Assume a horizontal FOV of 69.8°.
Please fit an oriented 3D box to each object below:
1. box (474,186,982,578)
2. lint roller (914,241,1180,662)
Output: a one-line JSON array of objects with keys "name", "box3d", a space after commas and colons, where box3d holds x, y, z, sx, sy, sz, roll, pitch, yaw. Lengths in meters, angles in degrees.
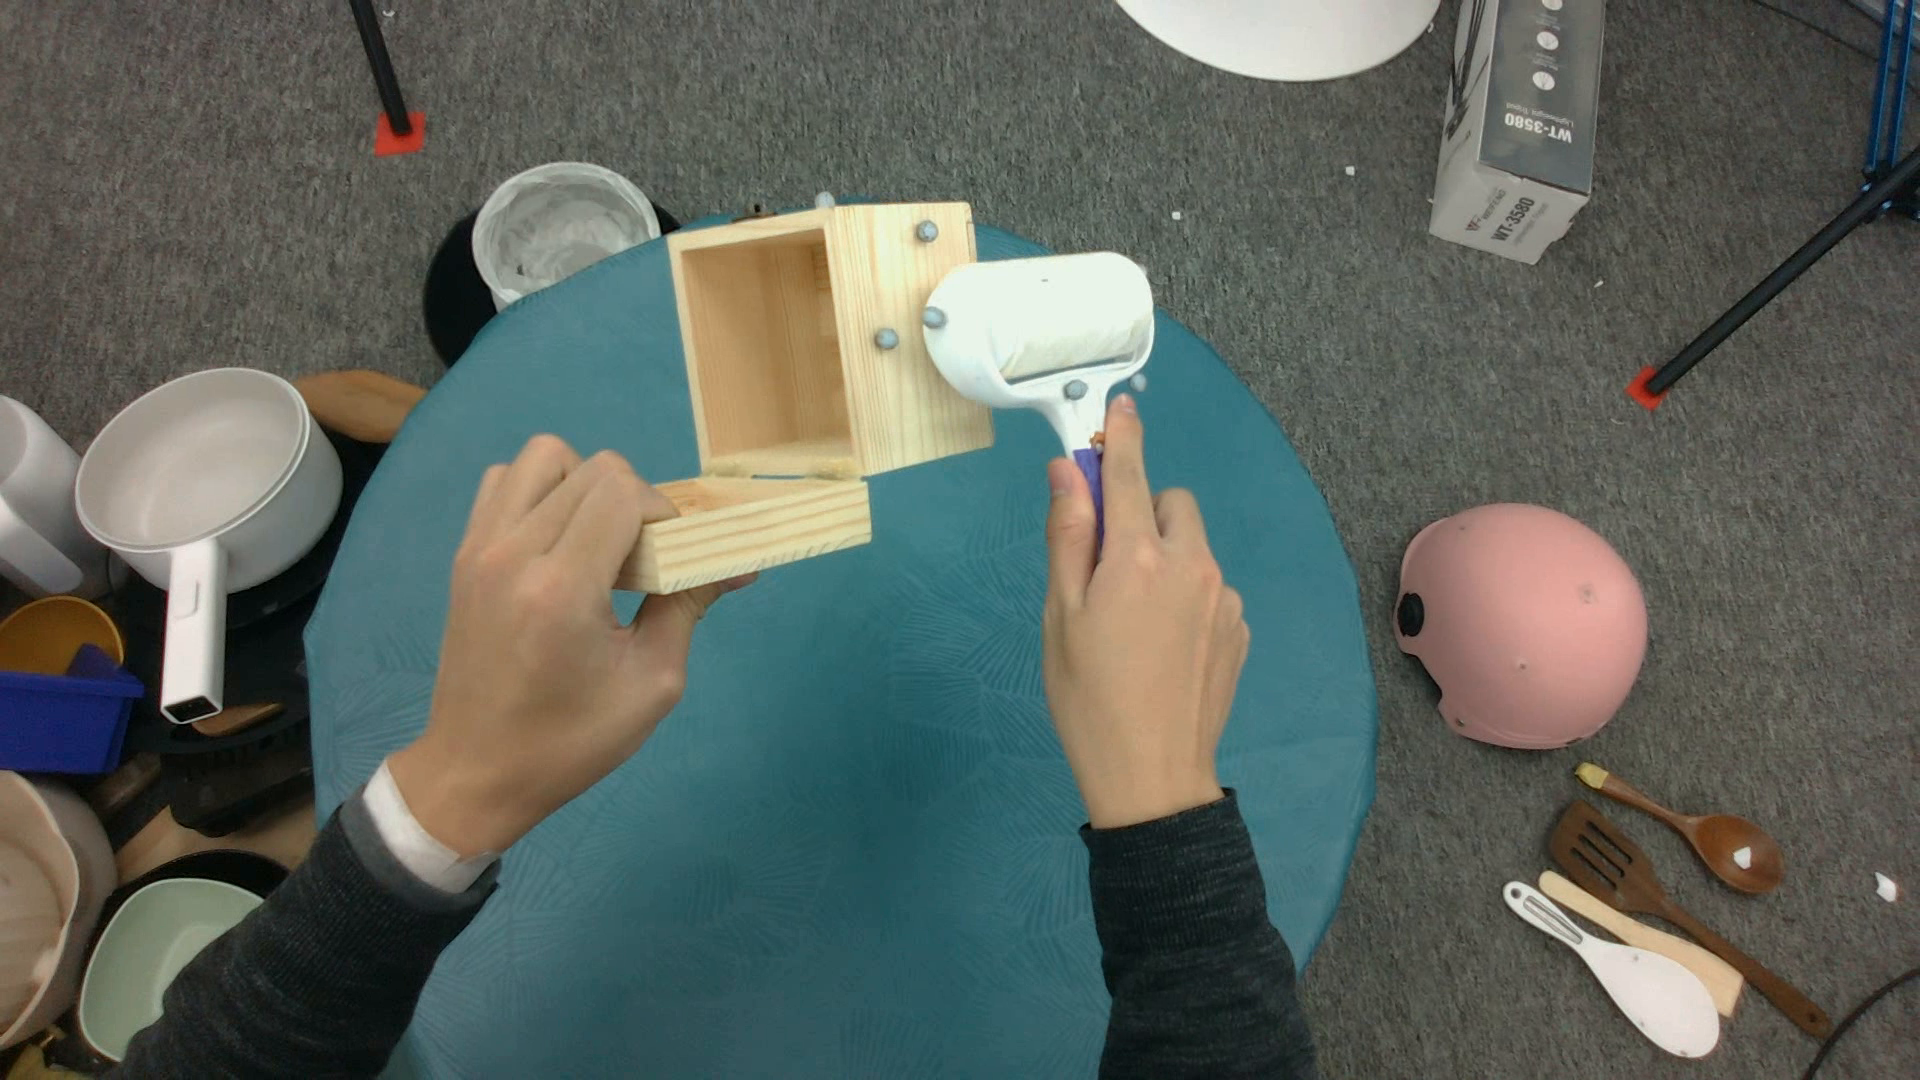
[{"name": "box", "box3d": [-0.090, -0.069, 0.537, 0.185, 0.102, 0.133, -18, 106, -48]}, {"name": "lint roller", "box3d": [0.057, -0.038, 0.559, 0.133, 0.050, 0.181, -16, 78, -52]}]
